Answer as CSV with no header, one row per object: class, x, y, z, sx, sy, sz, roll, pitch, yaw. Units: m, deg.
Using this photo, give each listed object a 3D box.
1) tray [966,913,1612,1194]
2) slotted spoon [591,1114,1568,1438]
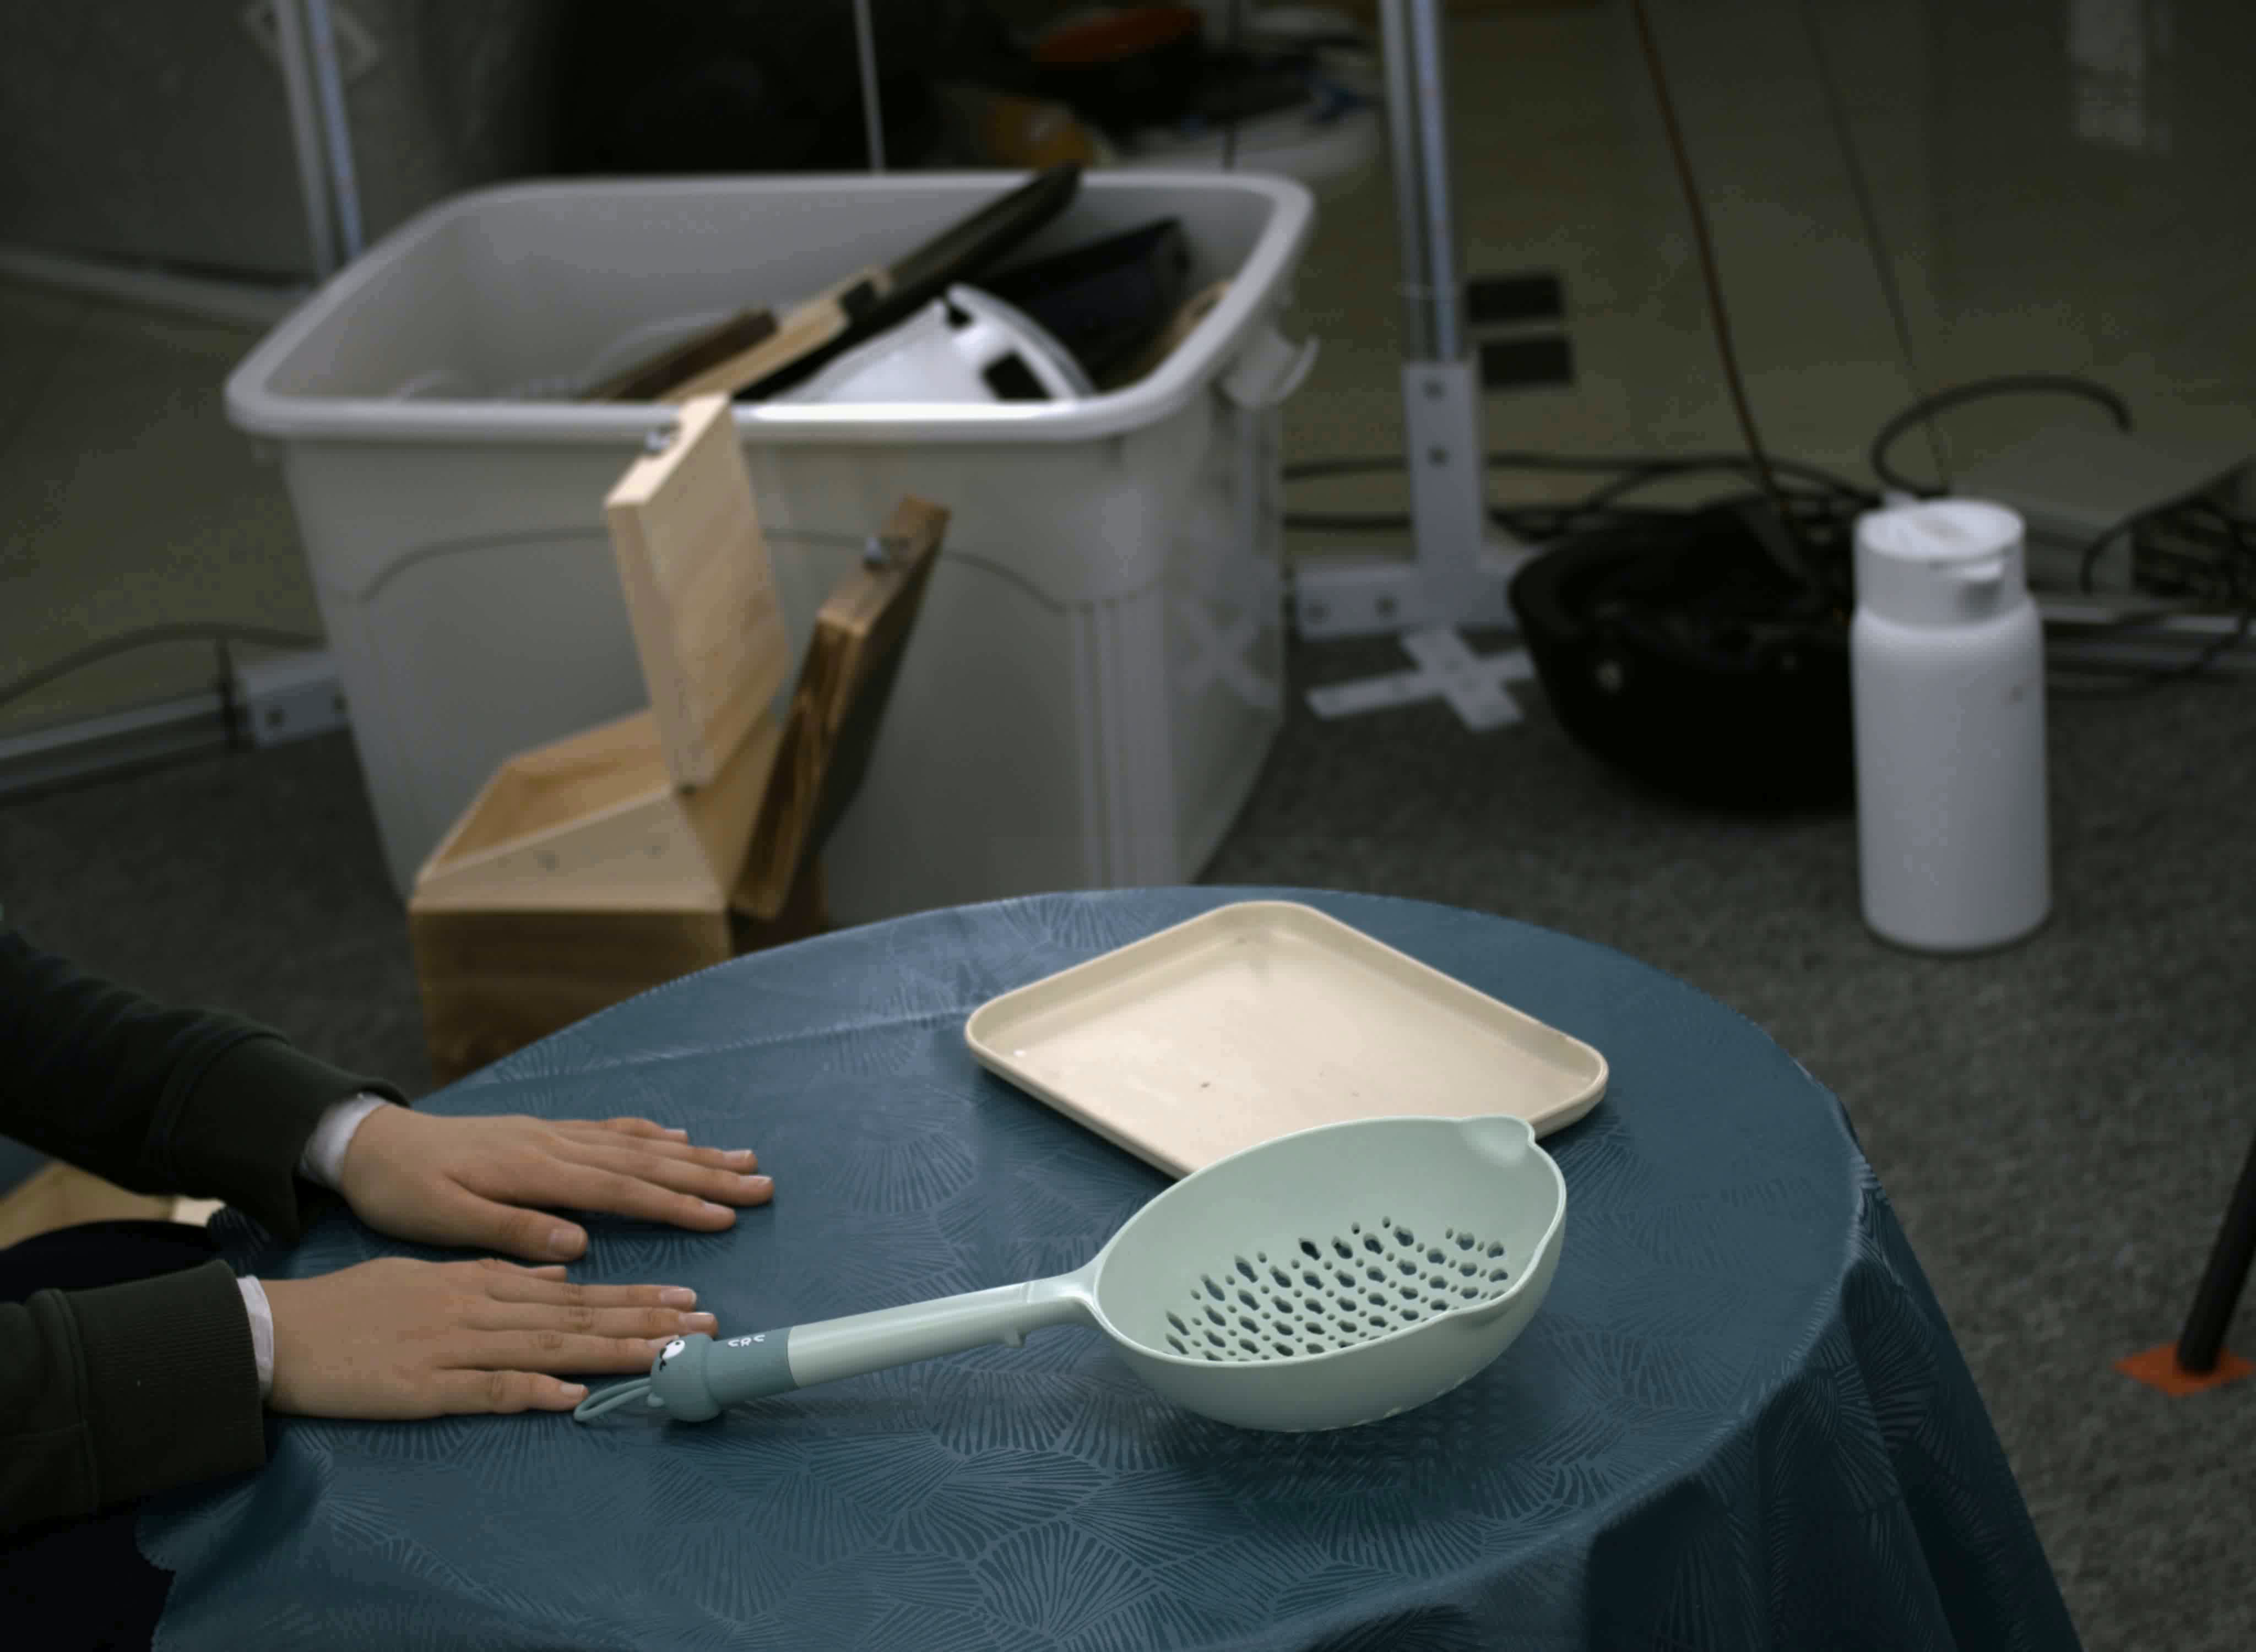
tray,0.061,0.095,2.213,0.170,0.018,0.237,-21,28,-30
slotted spoon,-0.021,0.174,2.008,0.358,0.076,0.167,-4,24,7
